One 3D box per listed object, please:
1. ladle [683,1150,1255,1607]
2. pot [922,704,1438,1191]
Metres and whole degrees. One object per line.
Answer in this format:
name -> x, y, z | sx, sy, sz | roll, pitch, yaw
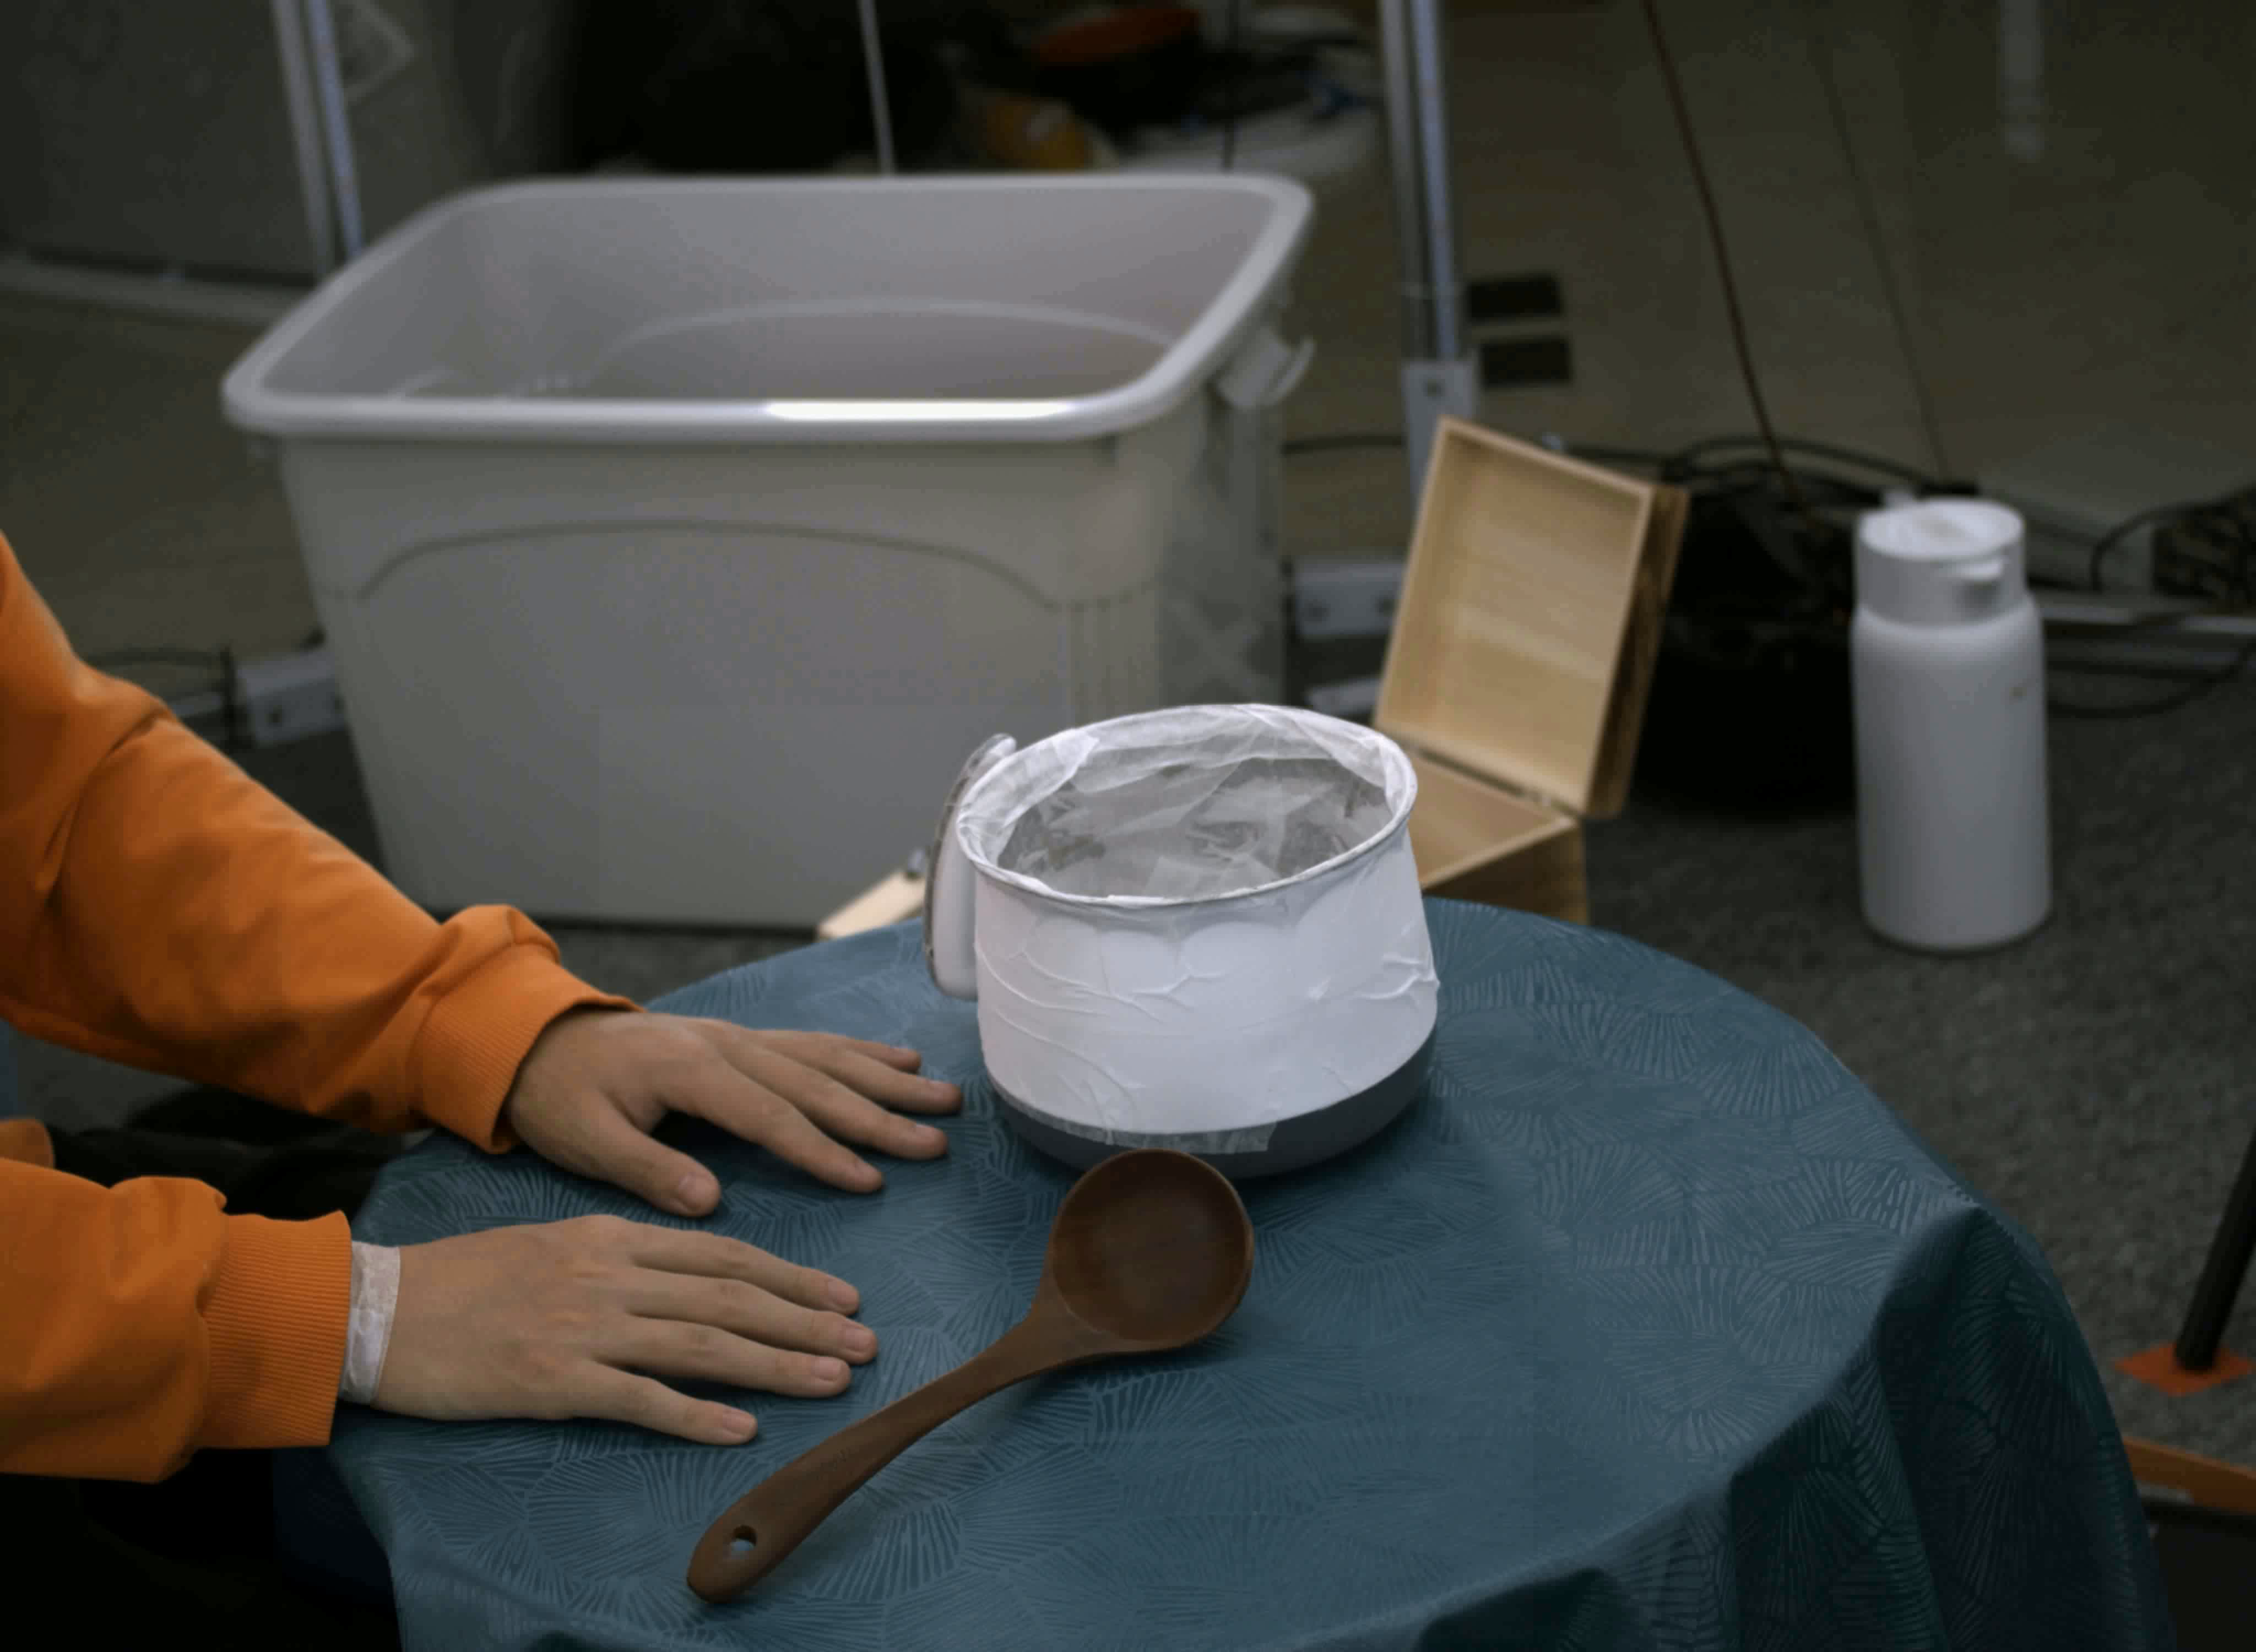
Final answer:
ladle -> -0.055, 0.191, 1.978 | 0.076, 0.066, 0.258 | 39, 45, 24
pot -> 0.008, 0.042, 2.189 | 0.232, 0.139, 0.177 | 16, 33, 39
